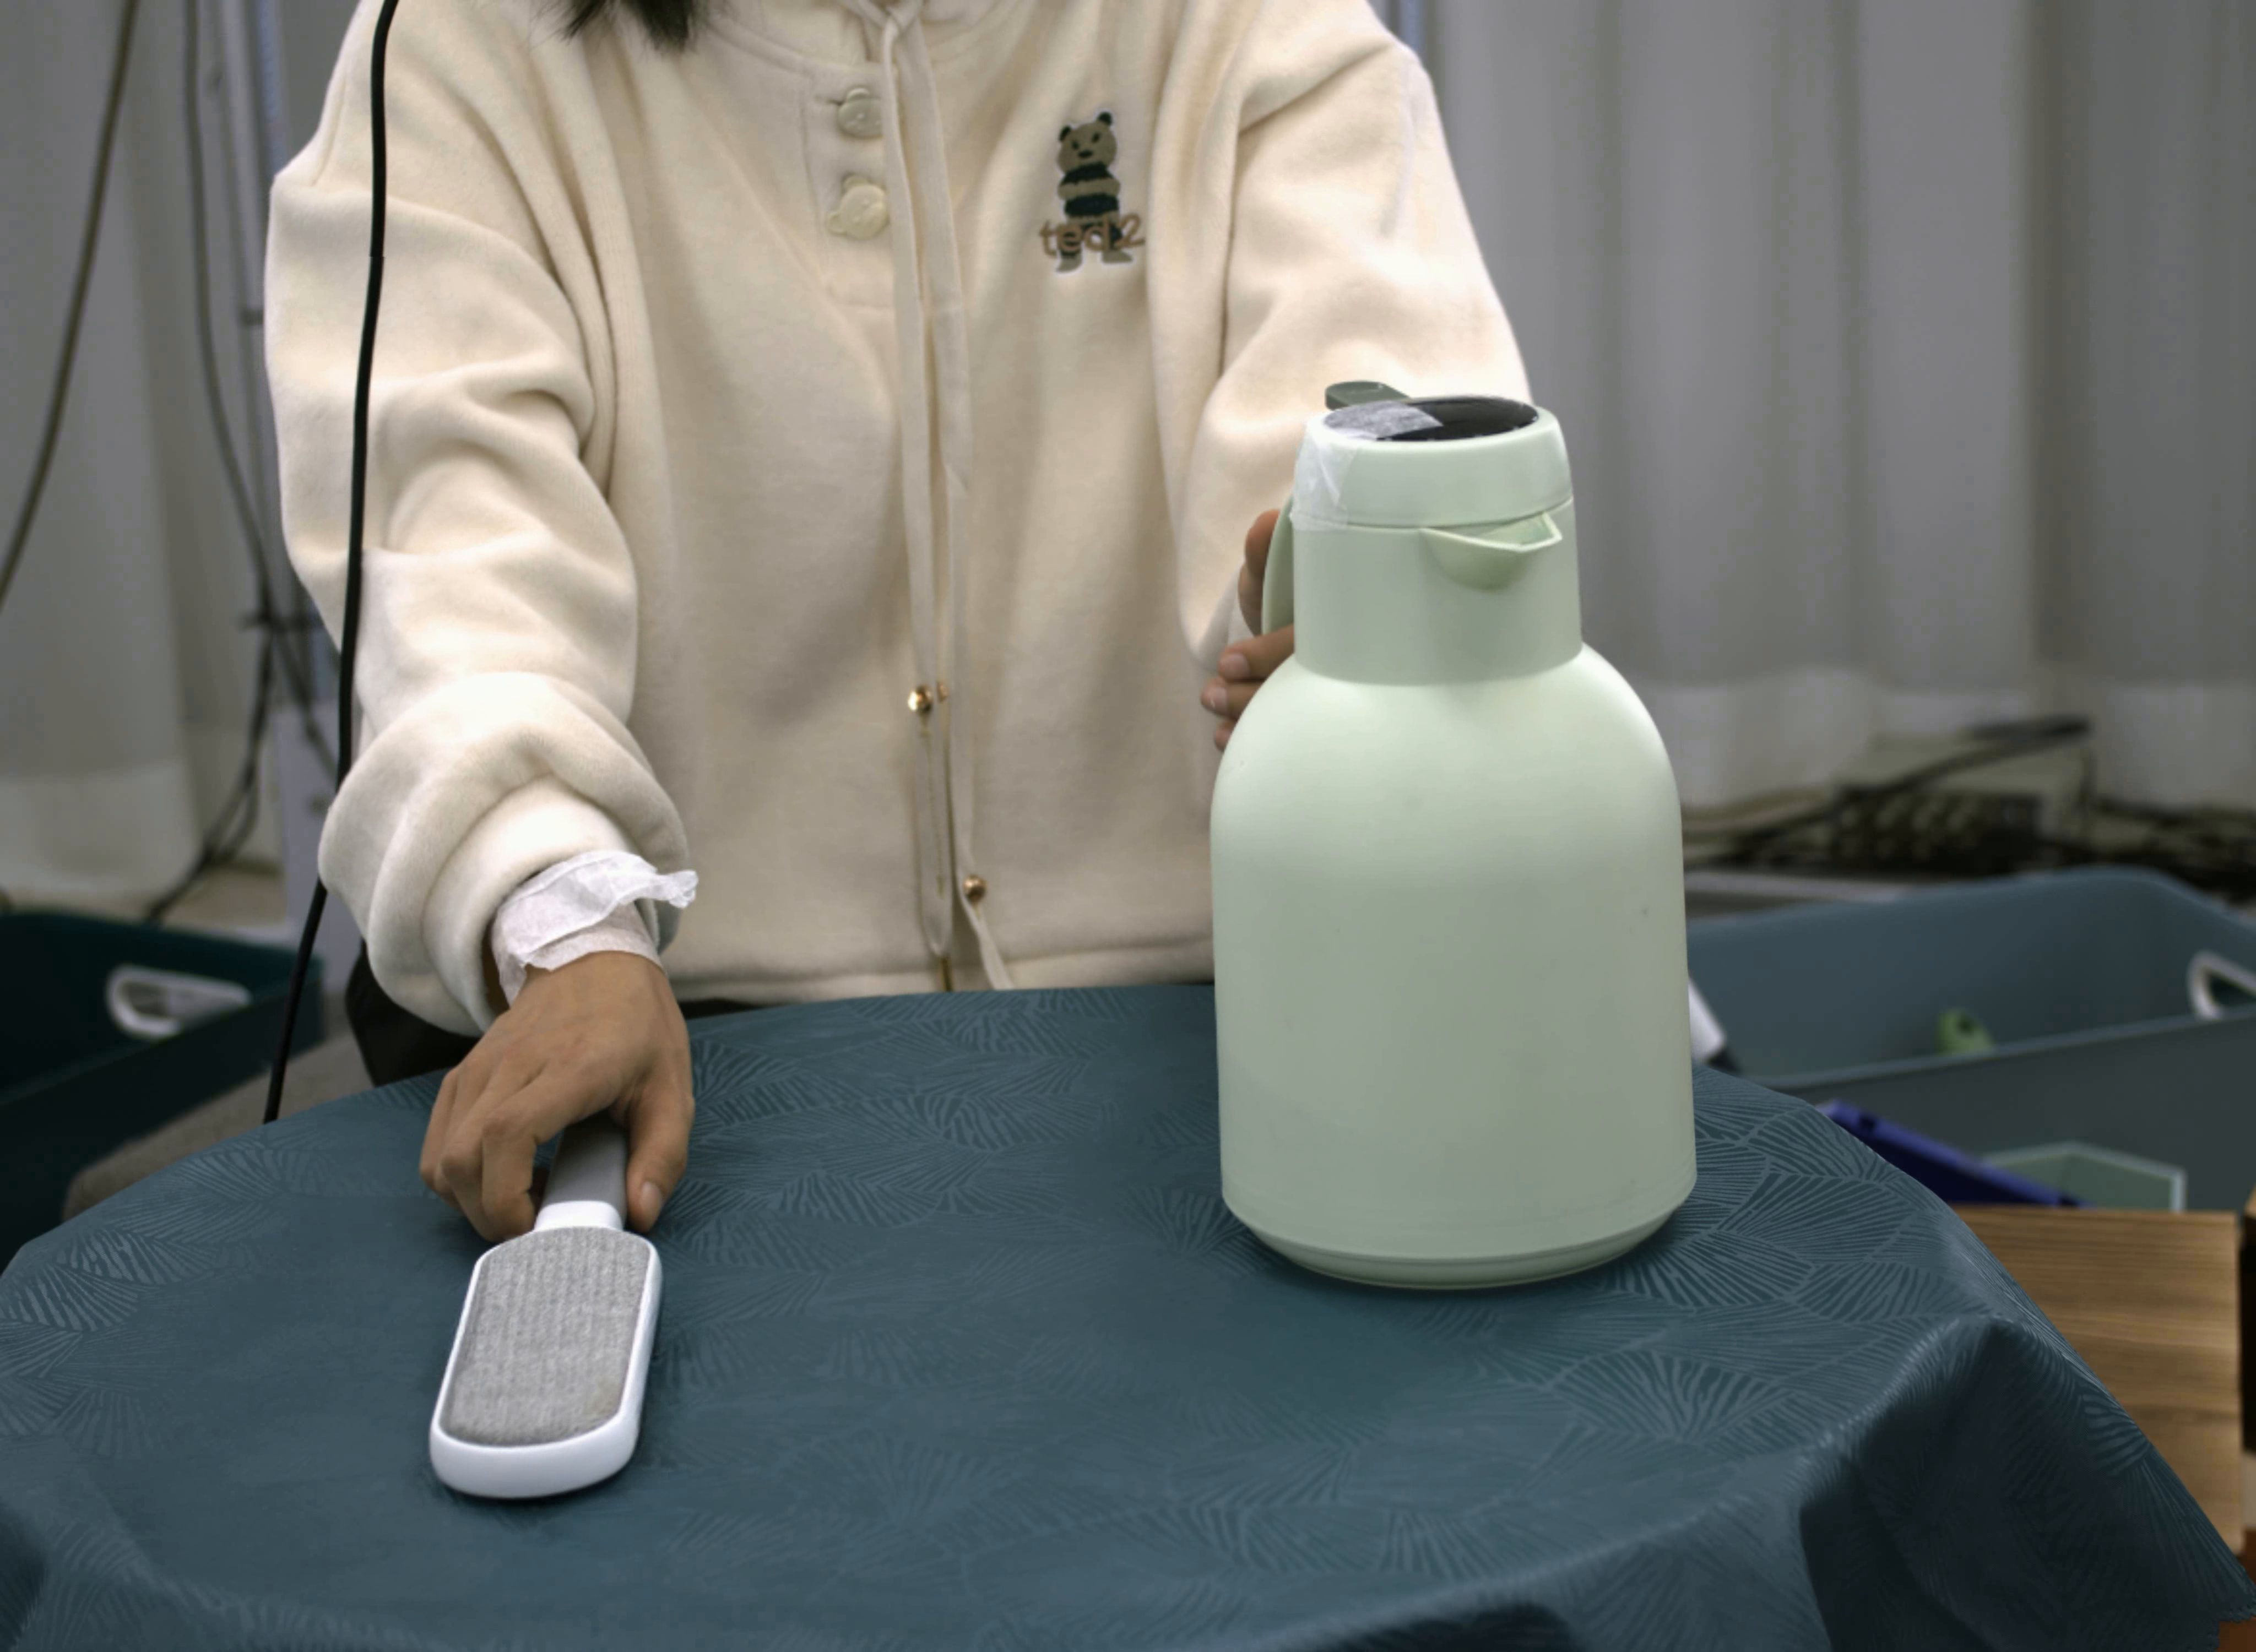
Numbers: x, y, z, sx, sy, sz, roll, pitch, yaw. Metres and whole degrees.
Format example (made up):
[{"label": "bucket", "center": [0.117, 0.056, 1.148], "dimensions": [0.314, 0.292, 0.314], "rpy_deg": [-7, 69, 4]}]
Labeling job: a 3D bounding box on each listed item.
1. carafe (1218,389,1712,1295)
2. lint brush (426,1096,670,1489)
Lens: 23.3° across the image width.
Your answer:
[{"label": "carafe", "center": [0.092, -0.001, 1.651], "dimensions": [0.143, 0.256, 0.188], "rpy_deg": [-9, 11, -18]}, {"label": "lint brush", "center": [-0.165, 0.134, 1.625], "dimensions": [0.060, 0.021, 0.311], "rpy_deg": [-5, 15, 0]}]
